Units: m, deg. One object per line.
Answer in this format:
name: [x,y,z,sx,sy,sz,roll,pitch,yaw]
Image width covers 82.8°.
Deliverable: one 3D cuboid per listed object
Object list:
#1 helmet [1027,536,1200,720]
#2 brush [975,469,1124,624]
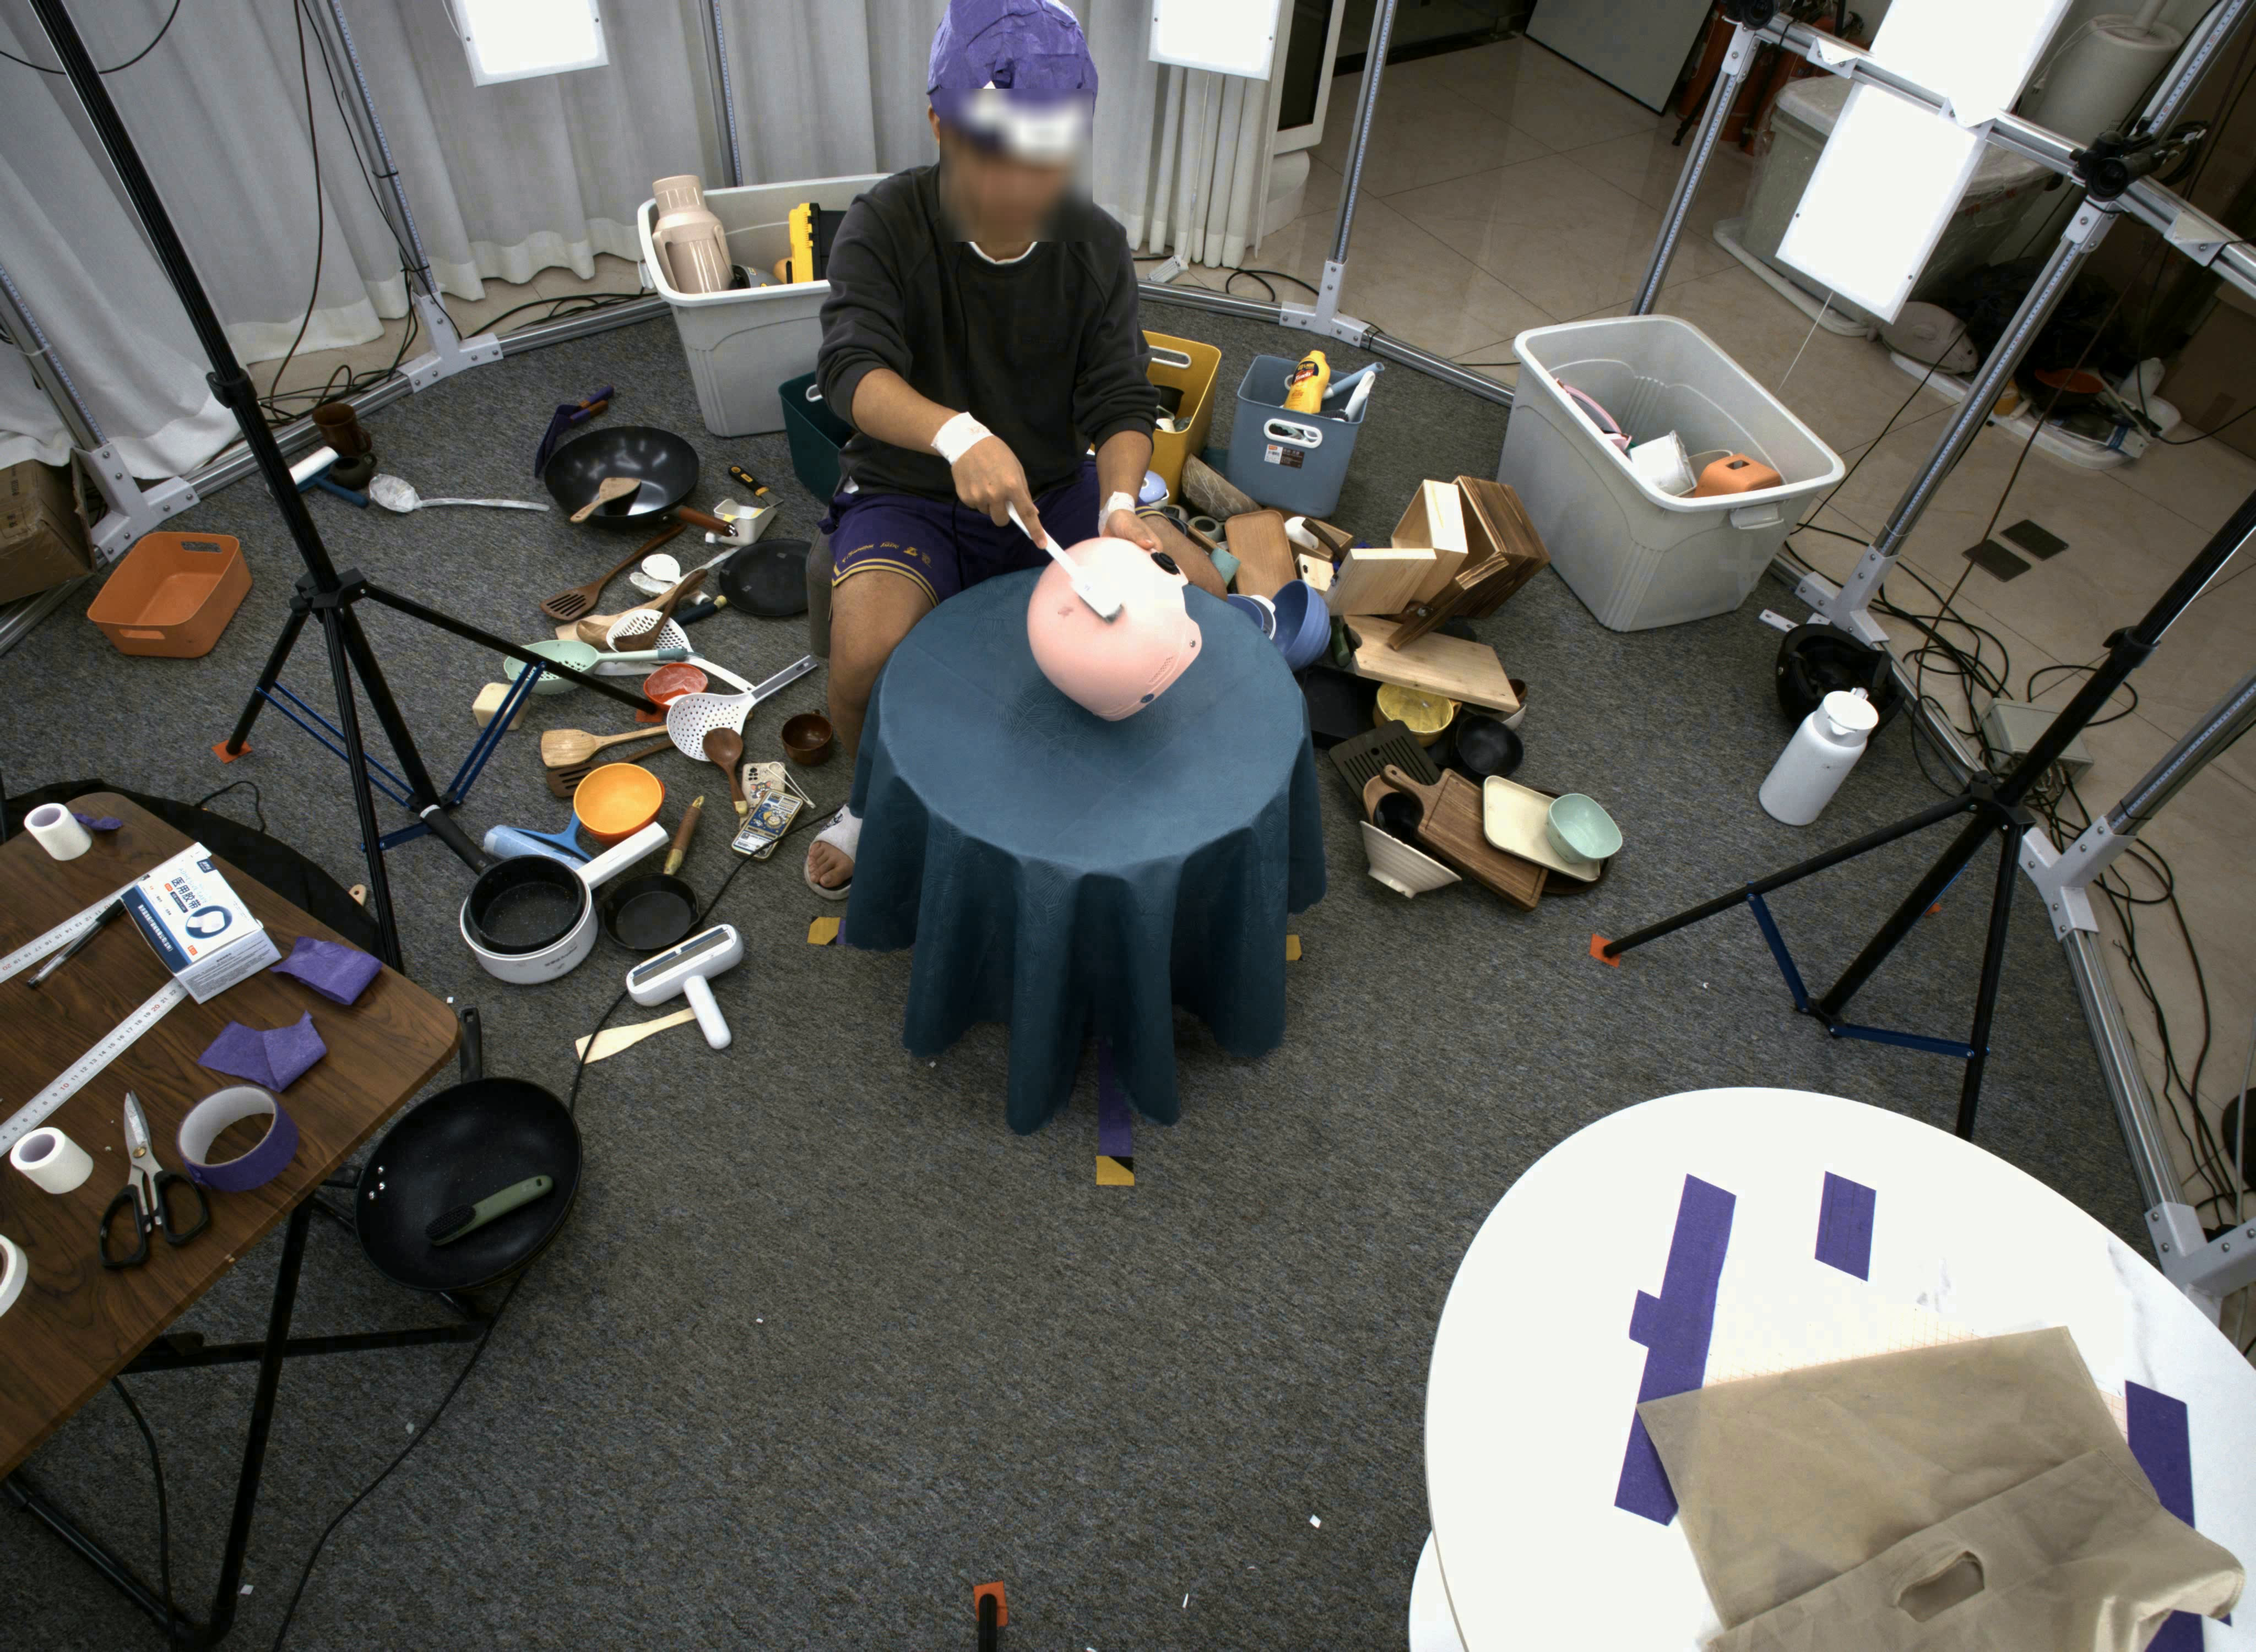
helmet: [-0.044,-0.284,1.719,0.157,0.232,0.272,20,41,-48]
brush: [-0.098,-0.347,1.604,0.243,0.050,0.034,44,85,0]
